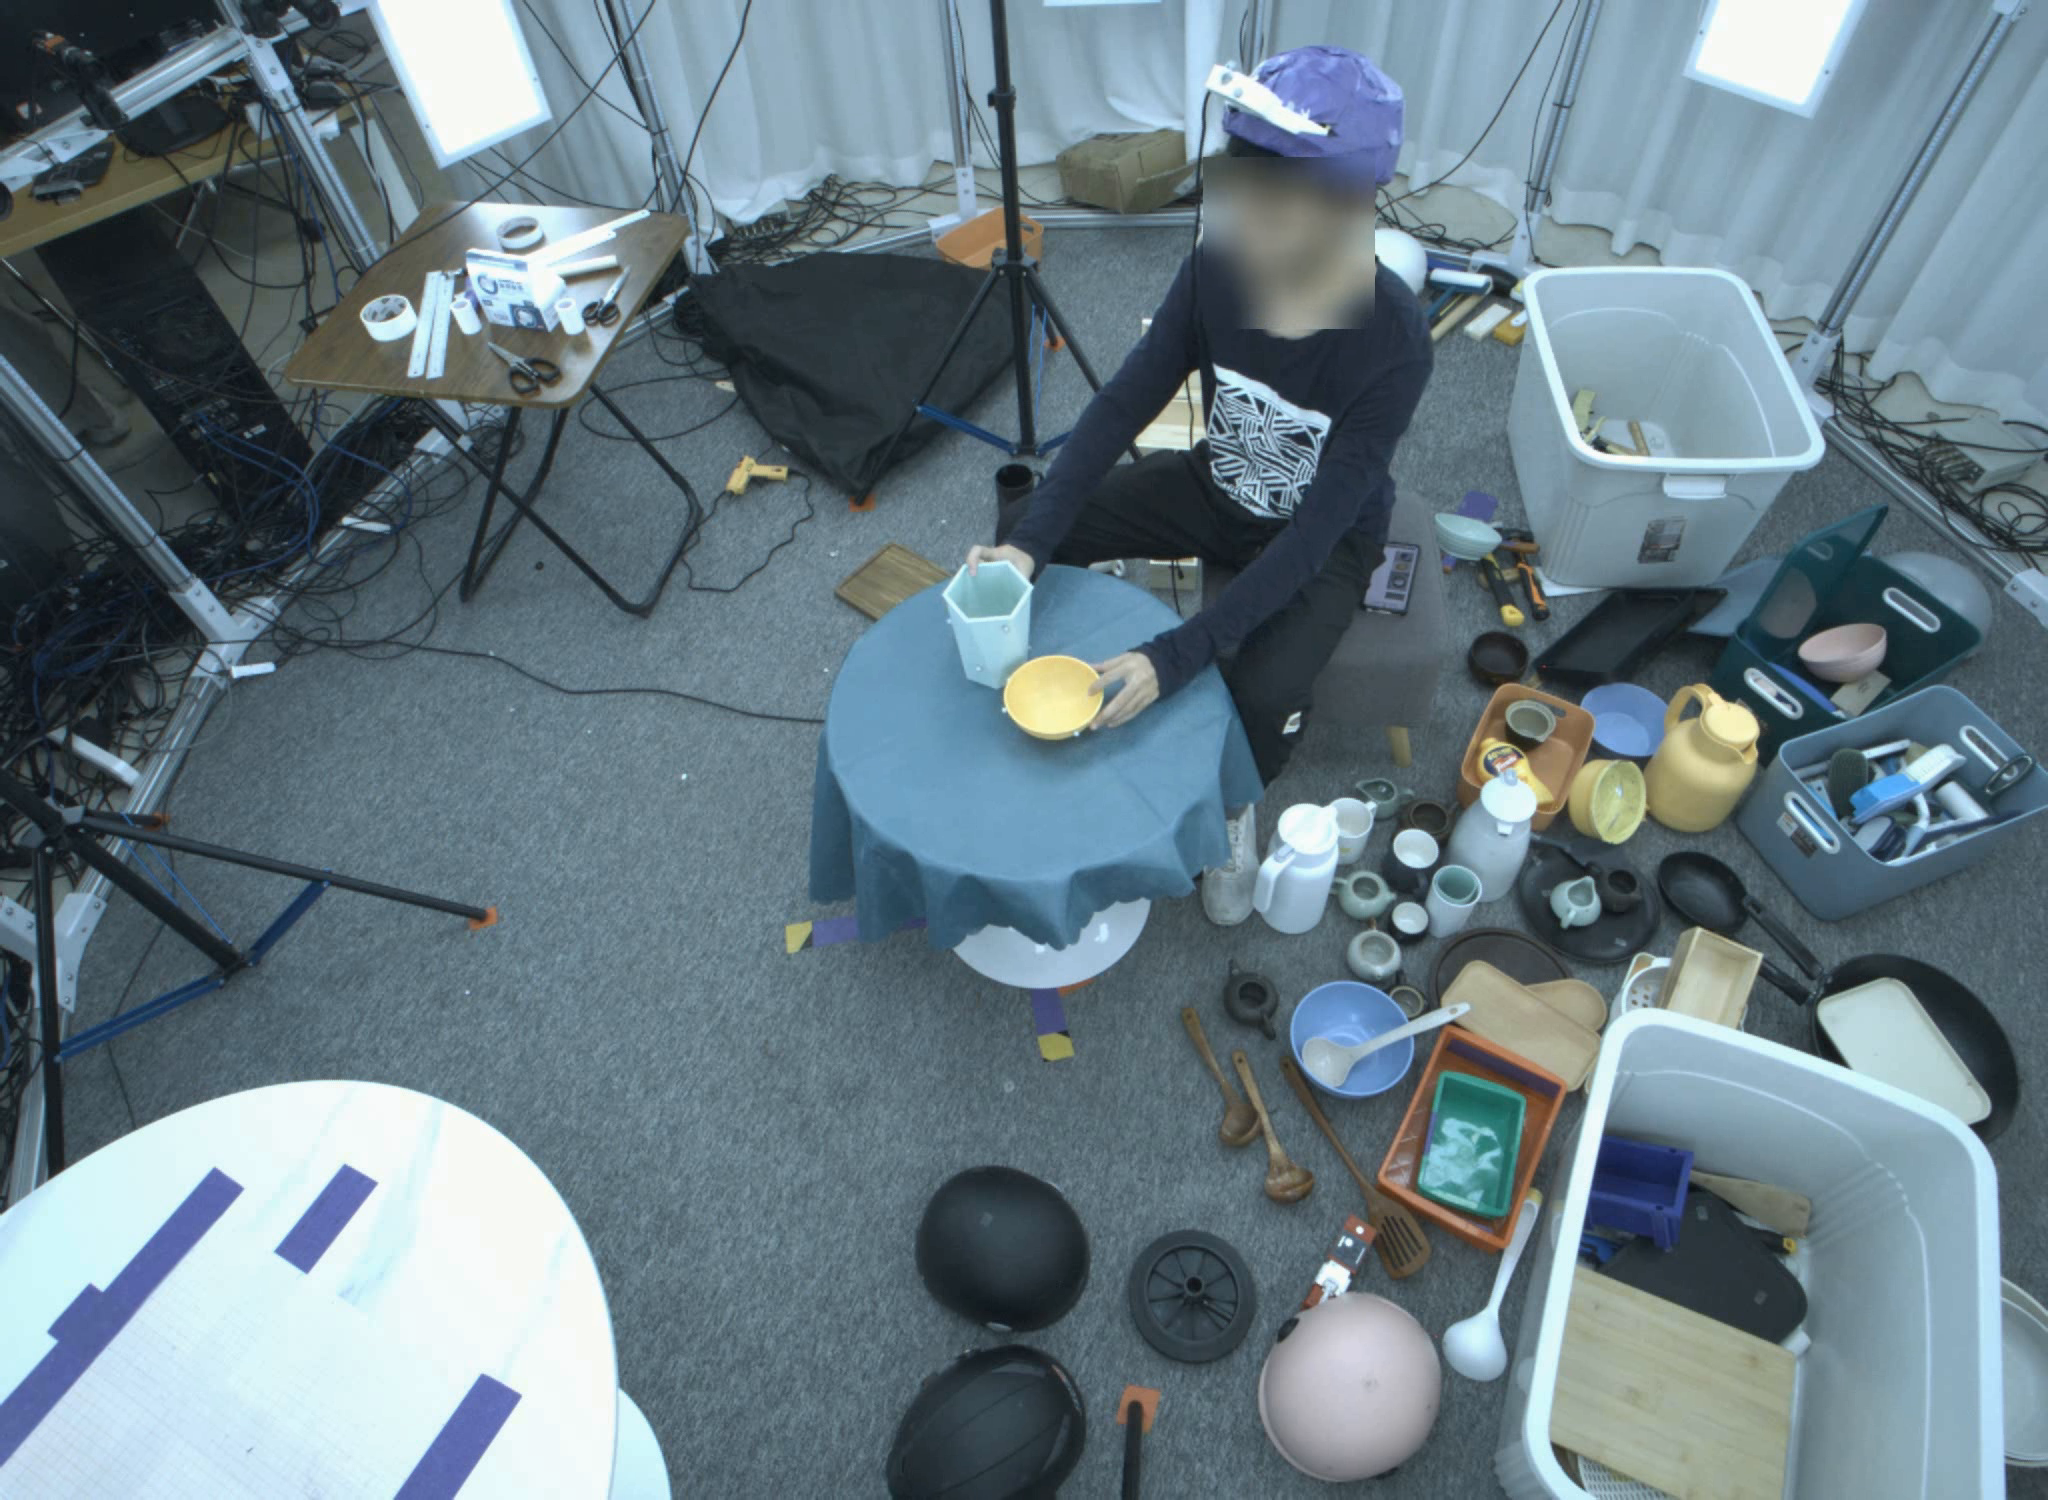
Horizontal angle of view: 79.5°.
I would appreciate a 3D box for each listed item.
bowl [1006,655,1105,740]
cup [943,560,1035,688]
[{"bbox_3d":[0.046,-0.065,1.792,0.145,0.061,0.144,0,54,1],"label":"bowl"},{"bbox_3d":[-0.047,-0.180,1.808,0.116,0.164,0.128,-31,59,-19],"label":"cup"}]
